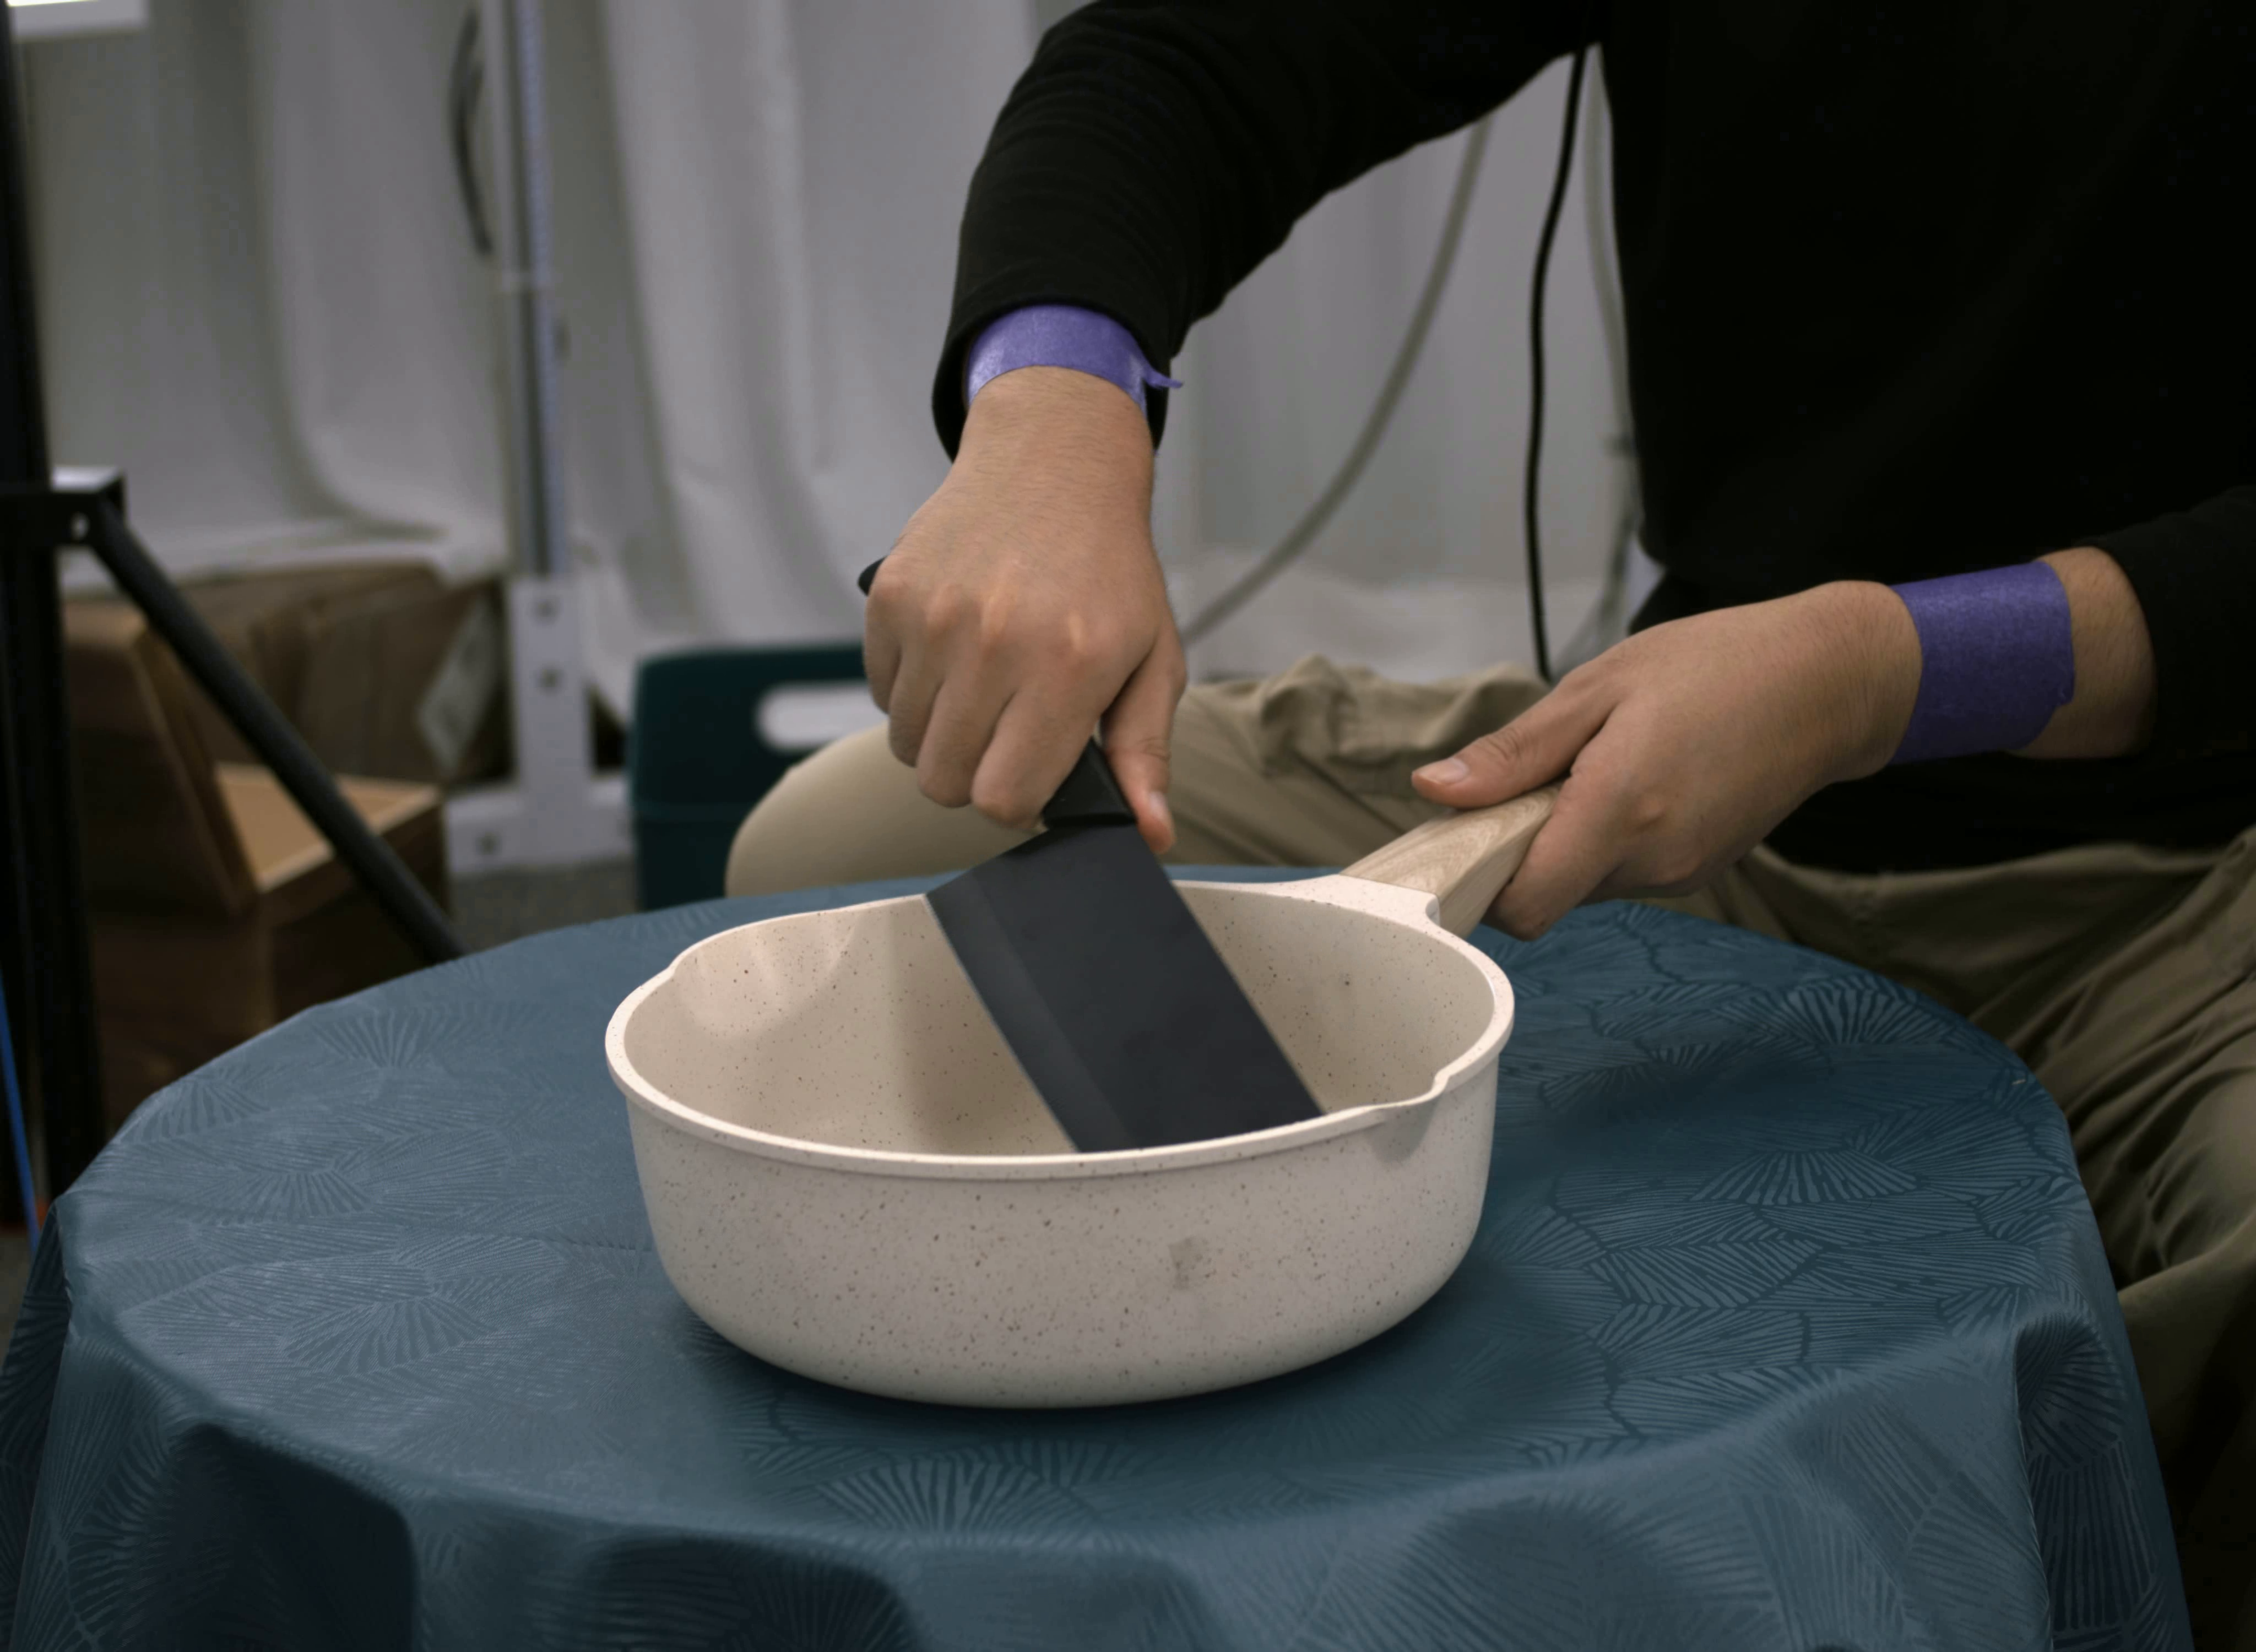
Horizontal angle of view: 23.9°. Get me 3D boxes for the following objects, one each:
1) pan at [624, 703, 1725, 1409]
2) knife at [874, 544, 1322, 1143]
[{"bbox_3d":[0.047,0.061,1.531,0.269,0.102,0.425,9,20,41],"label":"pan"},{"bbox_3d":[-0.011,0.023,1.534,0.080,0.020,0.308,-23,50,-5],"label":"knife"}]
